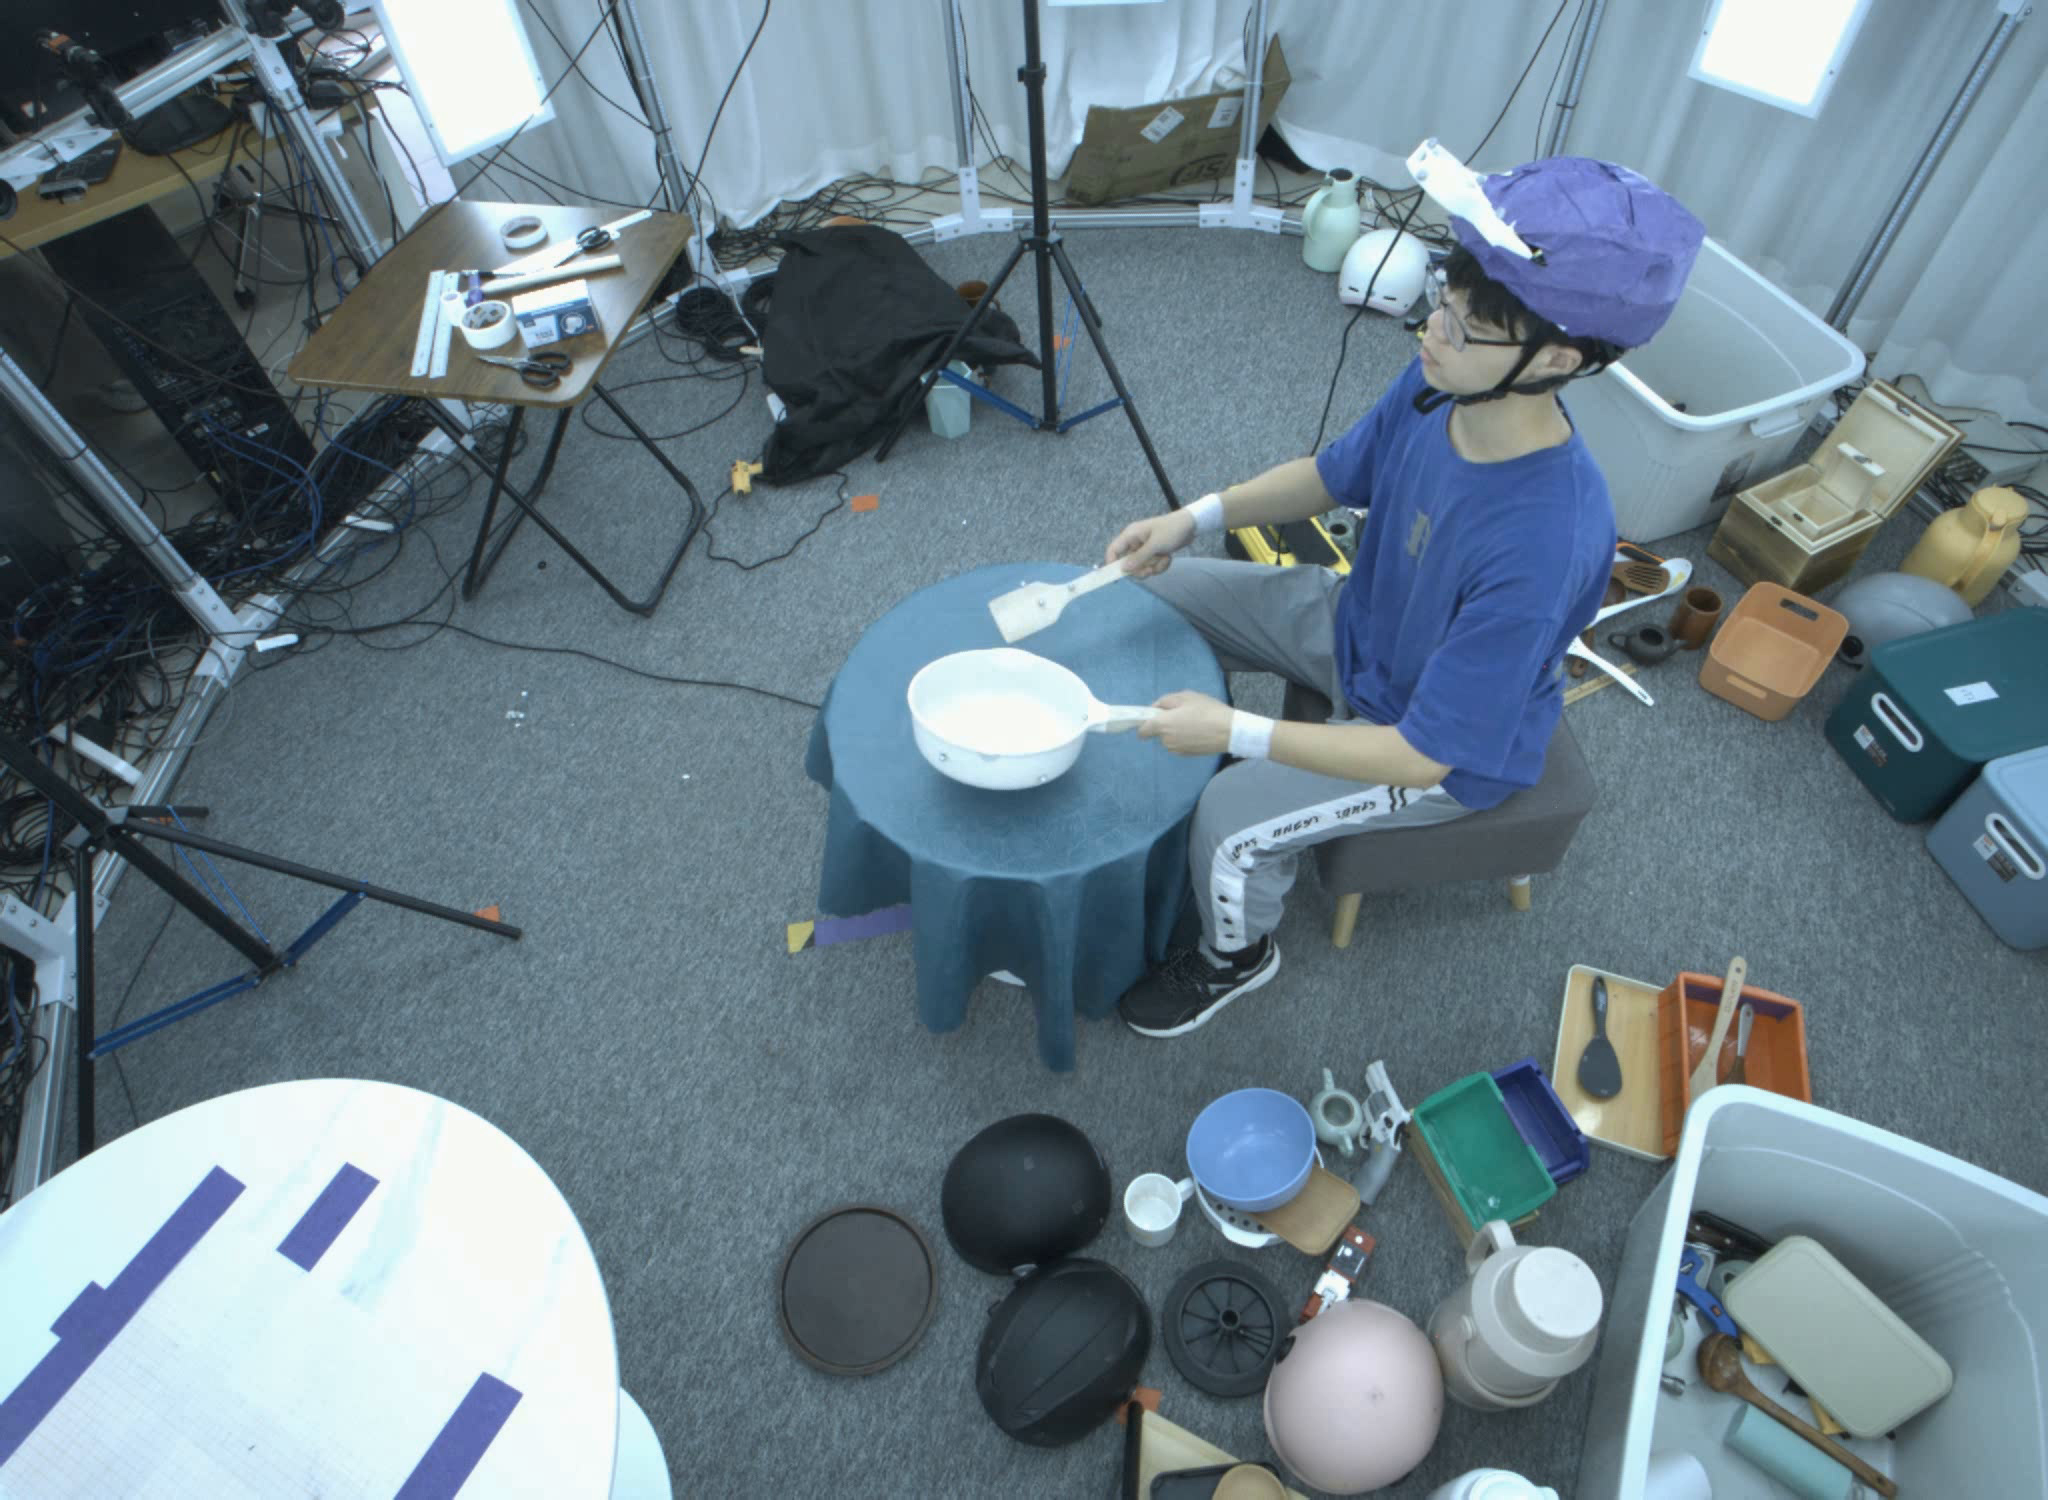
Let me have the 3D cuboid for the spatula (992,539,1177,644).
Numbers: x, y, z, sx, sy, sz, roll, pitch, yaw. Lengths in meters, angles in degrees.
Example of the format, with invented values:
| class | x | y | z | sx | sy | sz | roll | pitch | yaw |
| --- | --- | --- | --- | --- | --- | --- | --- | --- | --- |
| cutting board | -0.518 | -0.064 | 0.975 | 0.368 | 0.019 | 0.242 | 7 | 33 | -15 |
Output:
| class | x | y | z | sx | sy | sz | roll | pitch | yaw |
| --- | --- | --- | --- | --- | --- | --- | --- | --- | --- |
| spatula | 0.095 | -0.248 | 1.830 | 0.294 | 0.010 | 0.072 | -26 | 88 | -8 |

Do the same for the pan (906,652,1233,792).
| class | x | y | z | sx | sy | sz | roll | pitch | yaw |
| --- | --- | --- | --- | --- | --- | --- | --- | --- | --- |
| pan | 0.057 | -0.029 | 1.658 | 0.435 | 0.102 | 0.261 | 7 | 34 | -1 |
